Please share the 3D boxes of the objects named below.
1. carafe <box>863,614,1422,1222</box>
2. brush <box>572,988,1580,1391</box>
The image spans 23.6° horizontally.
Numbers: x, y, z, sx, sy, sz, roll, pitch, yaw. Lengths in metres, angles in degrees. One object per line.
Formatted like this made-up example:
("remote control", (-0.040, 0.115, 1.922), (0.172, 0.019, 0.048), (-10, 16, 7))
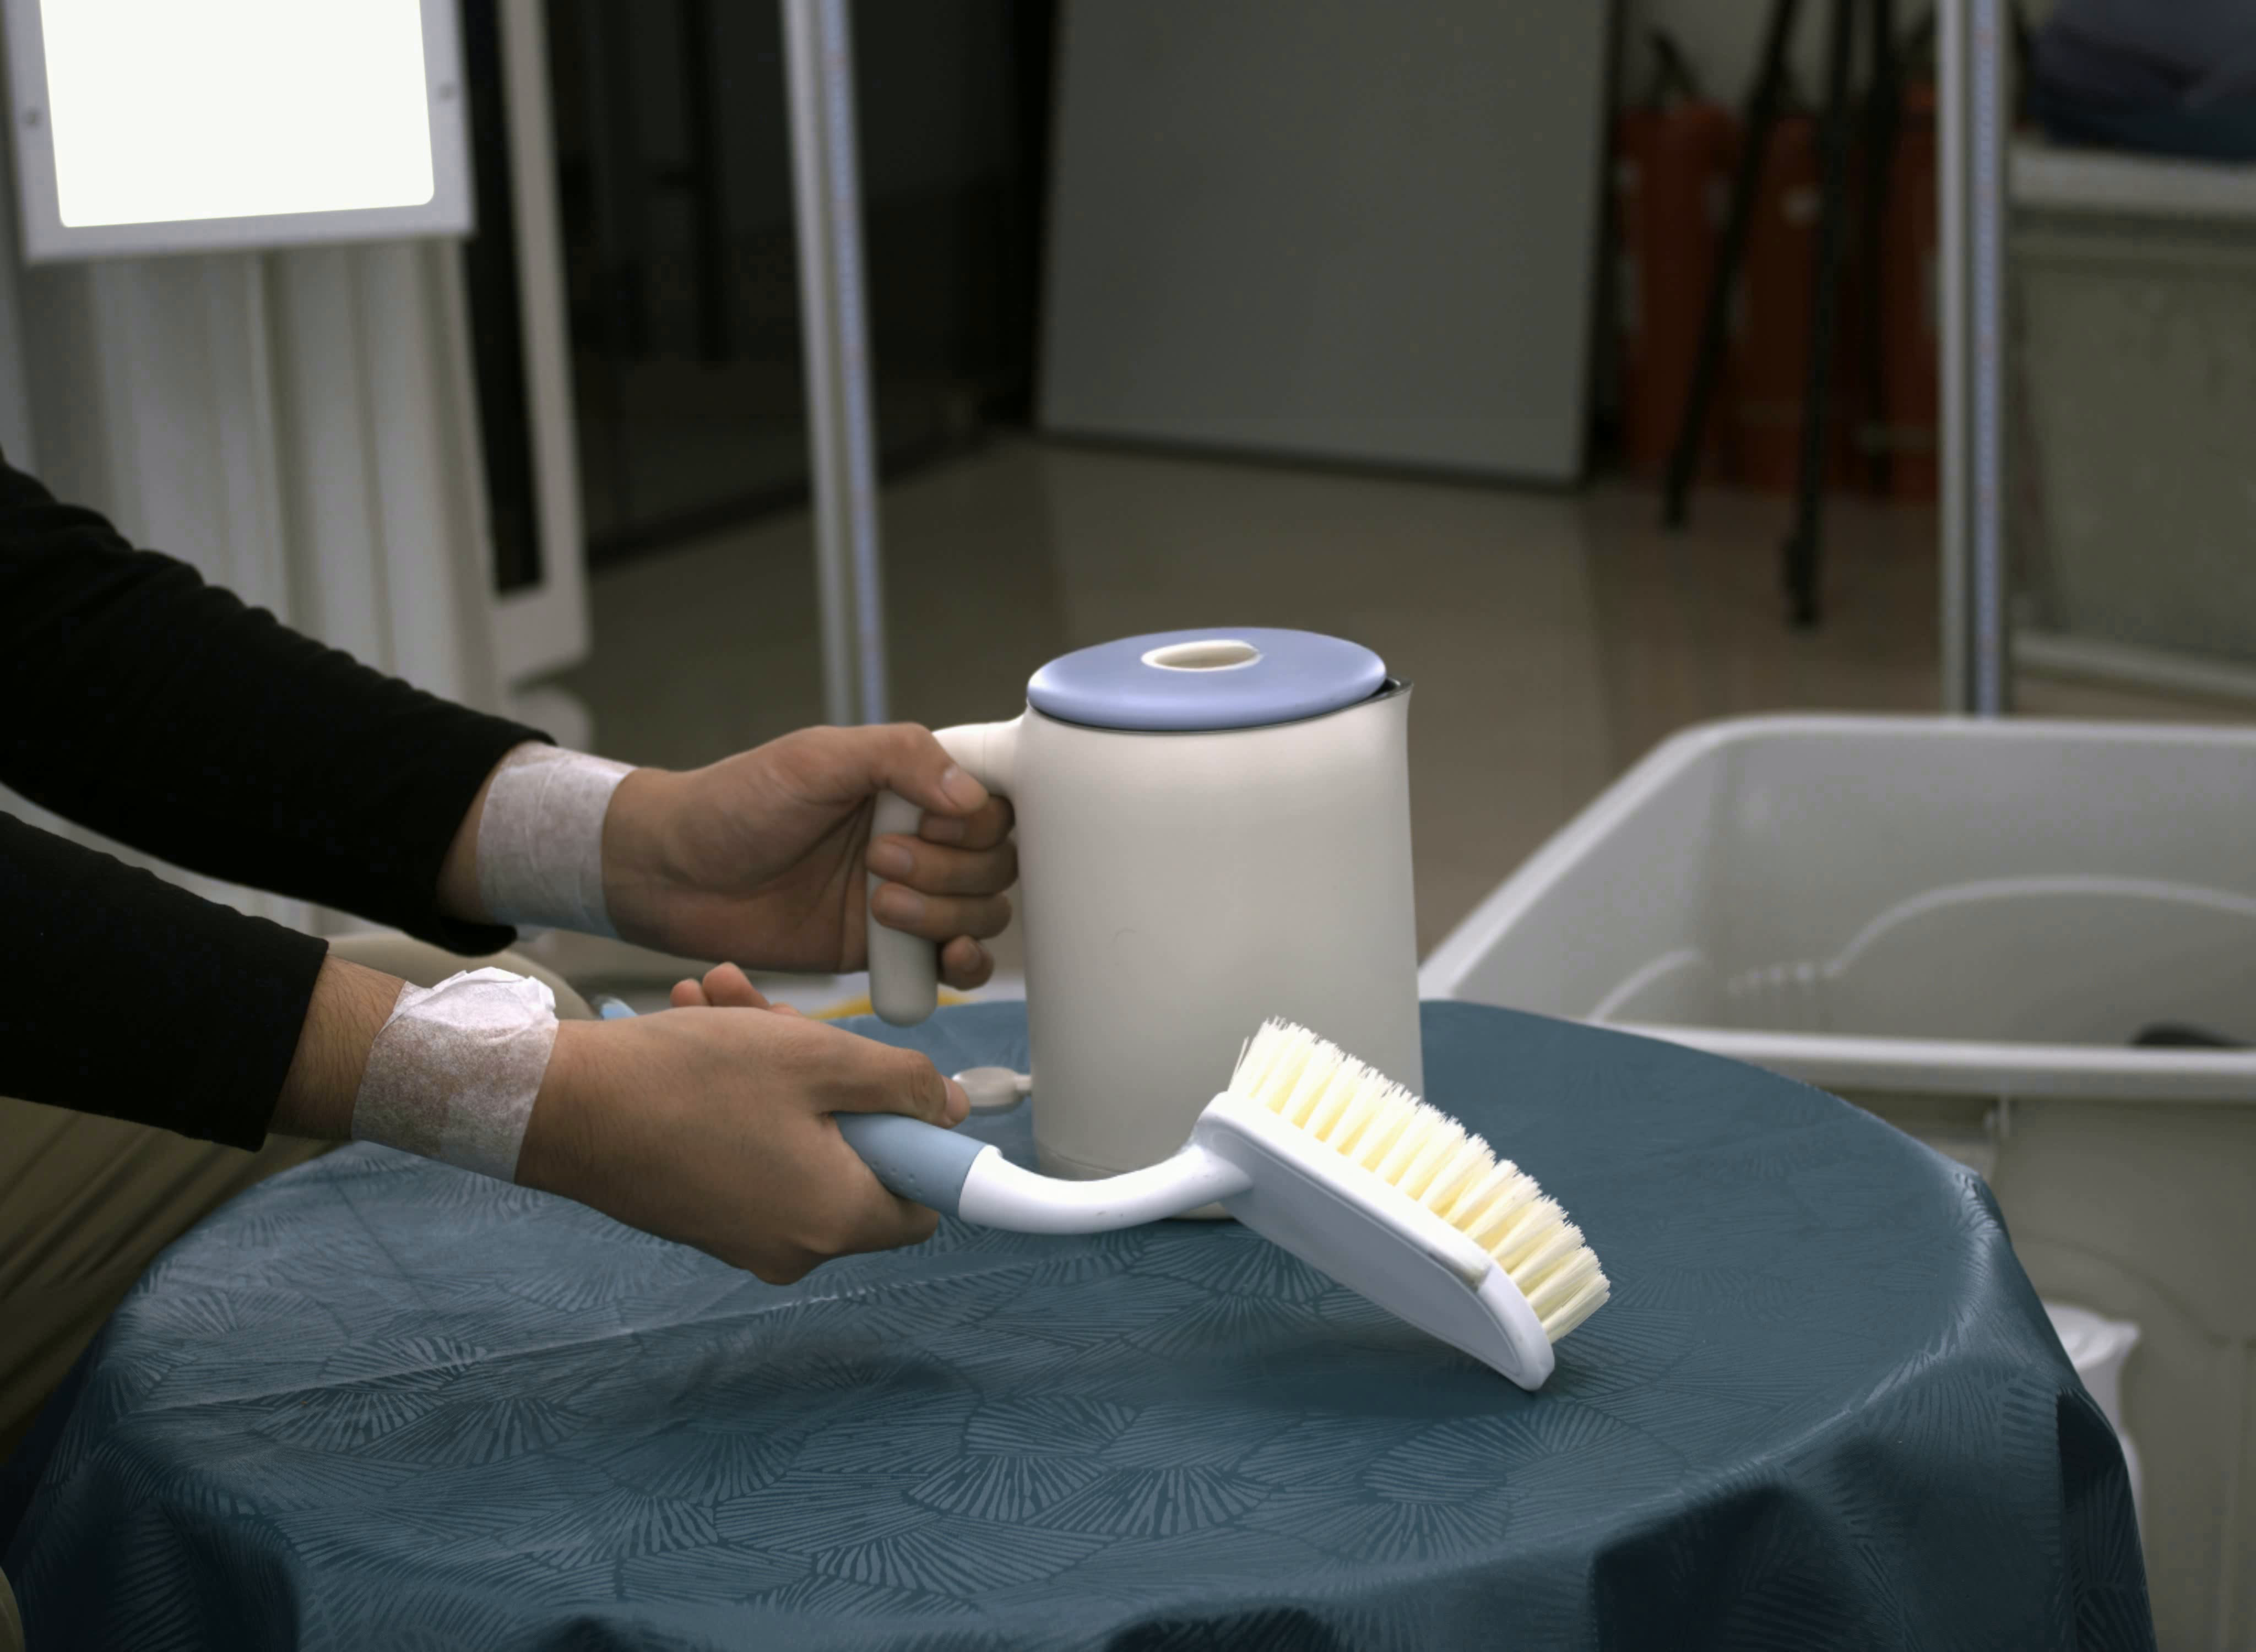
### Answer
("carafe", (0.005, 0.030, 1.774), (0.189, 0.184, 0.132), (-3, 13, 10))
("brush", (-0.013, 0.080, 1.613), (0.325, 0.084, 0.083), (19, 22, 18))
